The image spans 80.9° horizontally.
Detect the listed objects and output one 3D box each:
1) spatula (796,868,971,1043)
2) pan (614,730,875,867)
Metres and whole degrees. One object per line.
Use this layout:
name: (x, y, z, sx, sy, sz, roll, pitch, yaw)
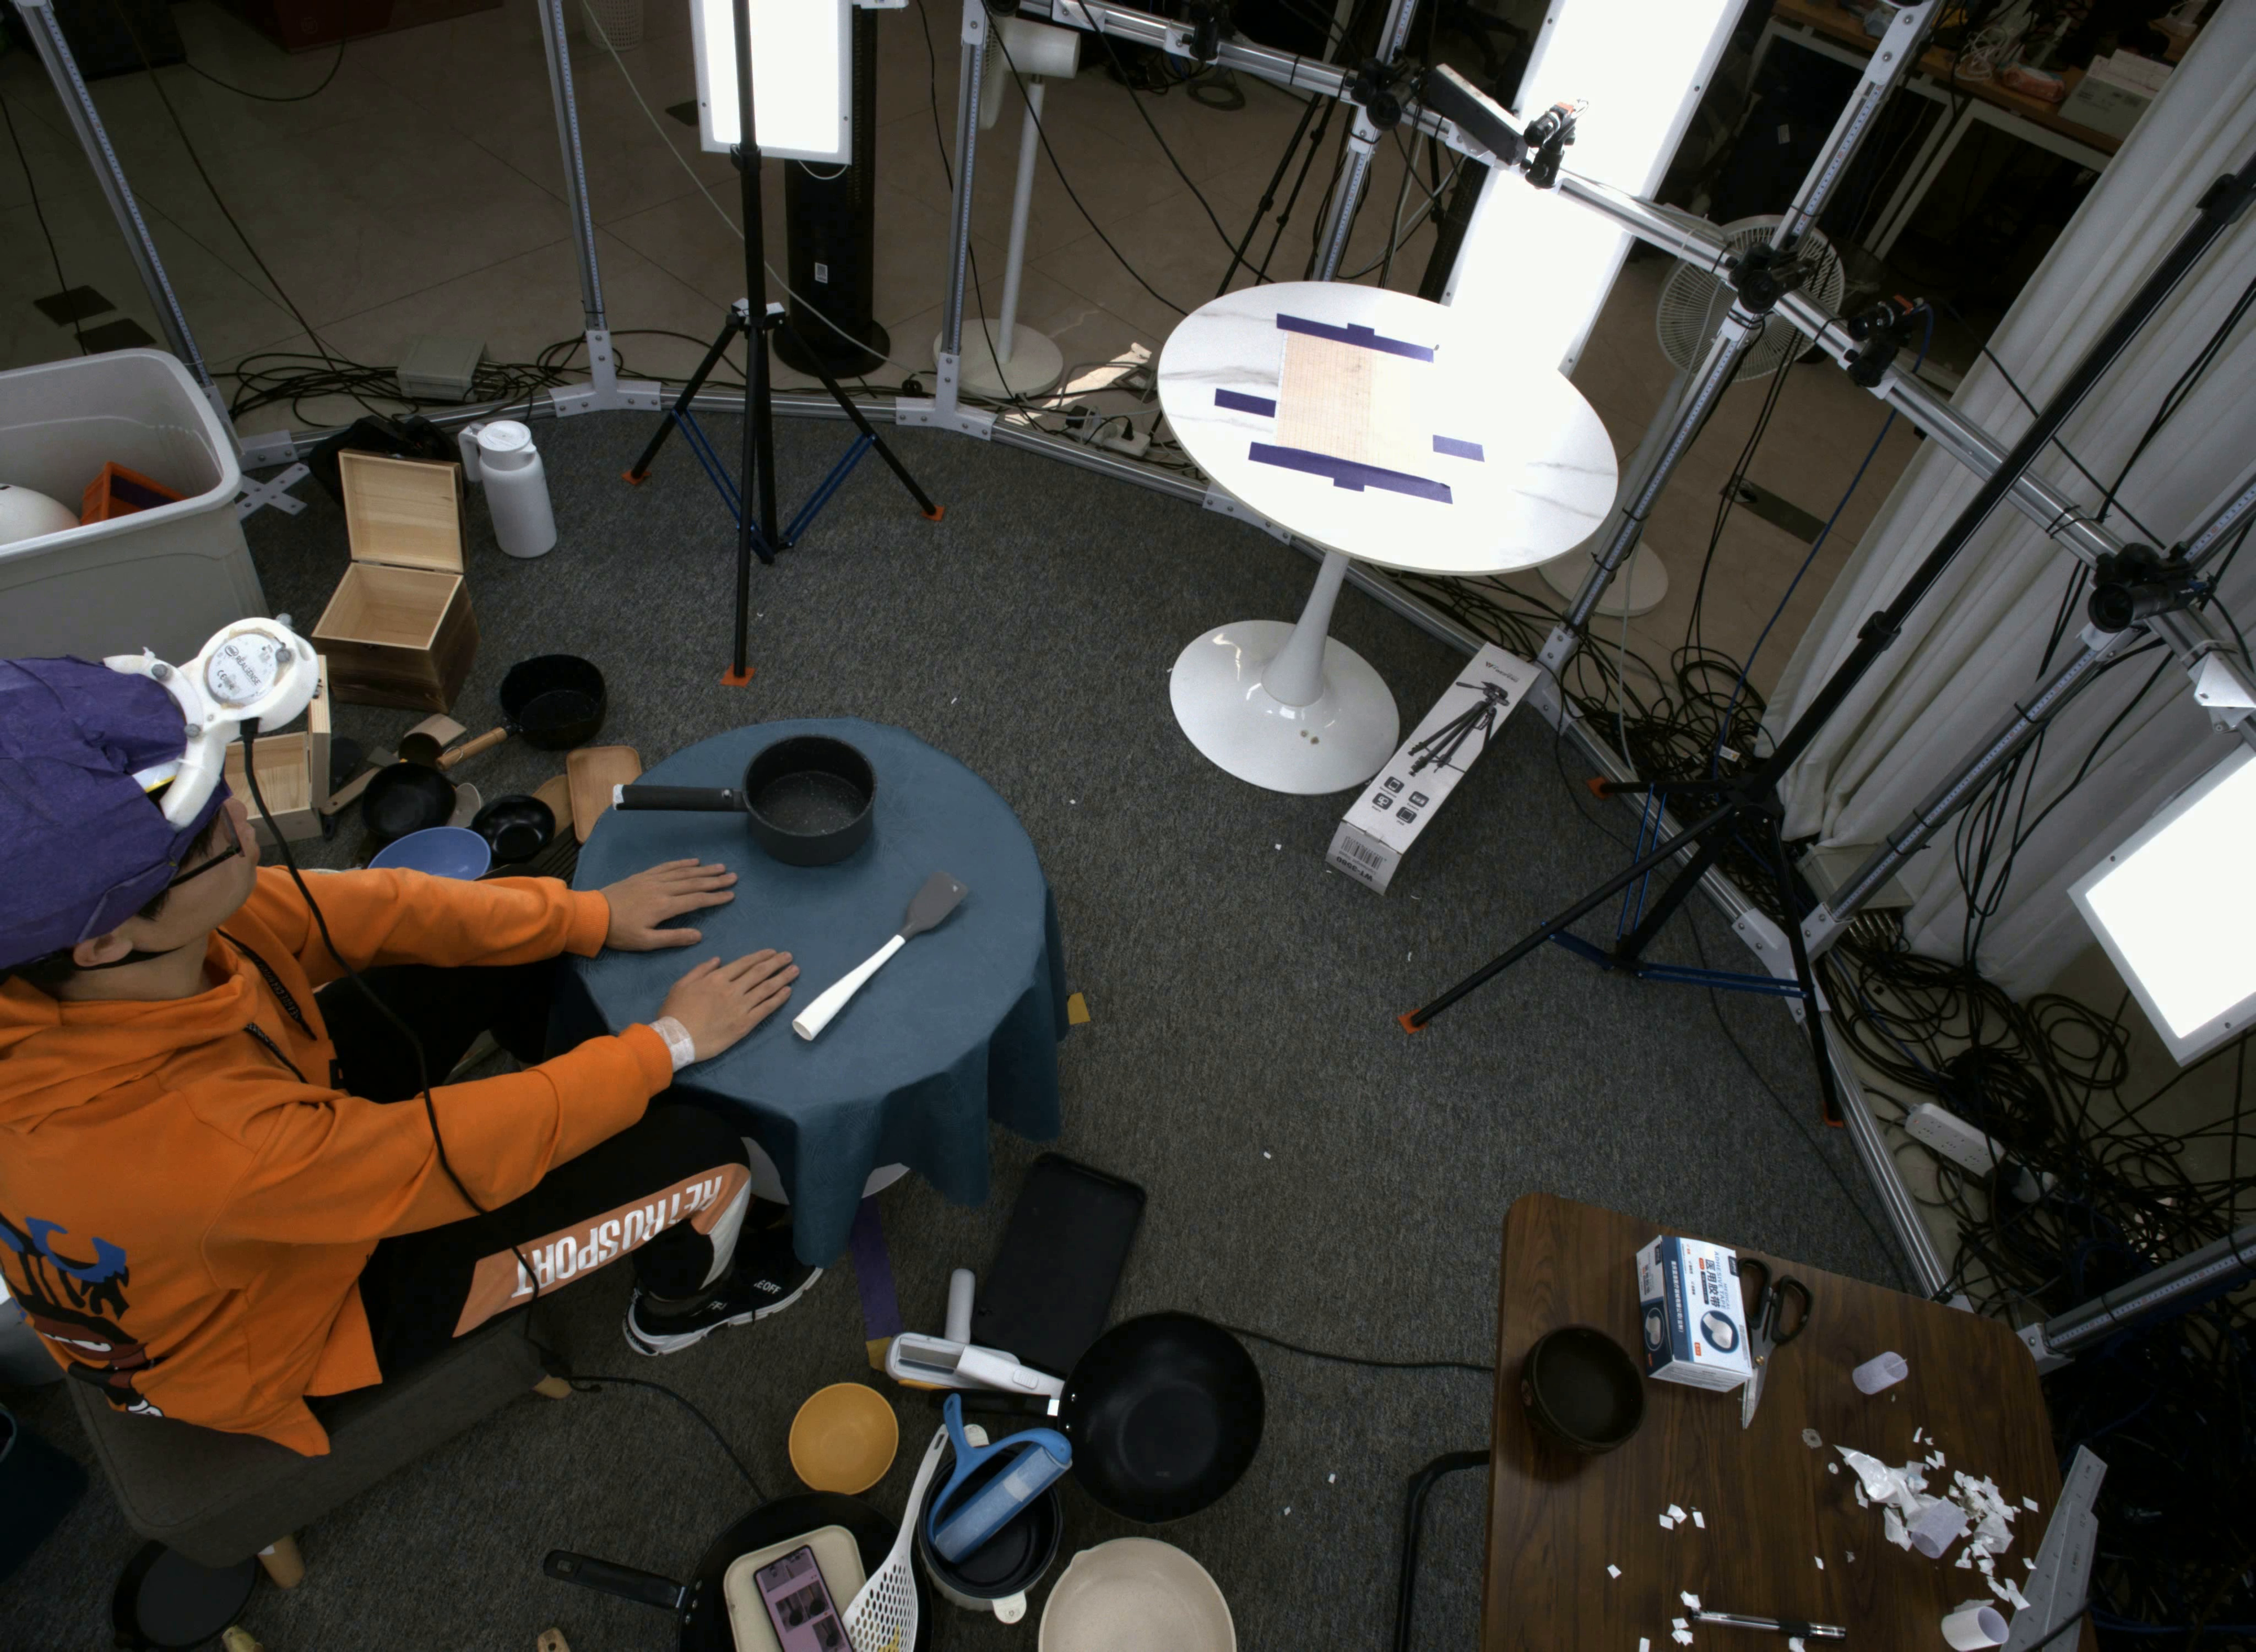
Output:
spatula: (-0.302, 0.155, 1.610, 0.057, 0.033, 0.287, 31, 53, 15)
pan: (-0.492, -0.032, 1.664, 0.330, 0.088, 0.168, -2, 53, -18)
